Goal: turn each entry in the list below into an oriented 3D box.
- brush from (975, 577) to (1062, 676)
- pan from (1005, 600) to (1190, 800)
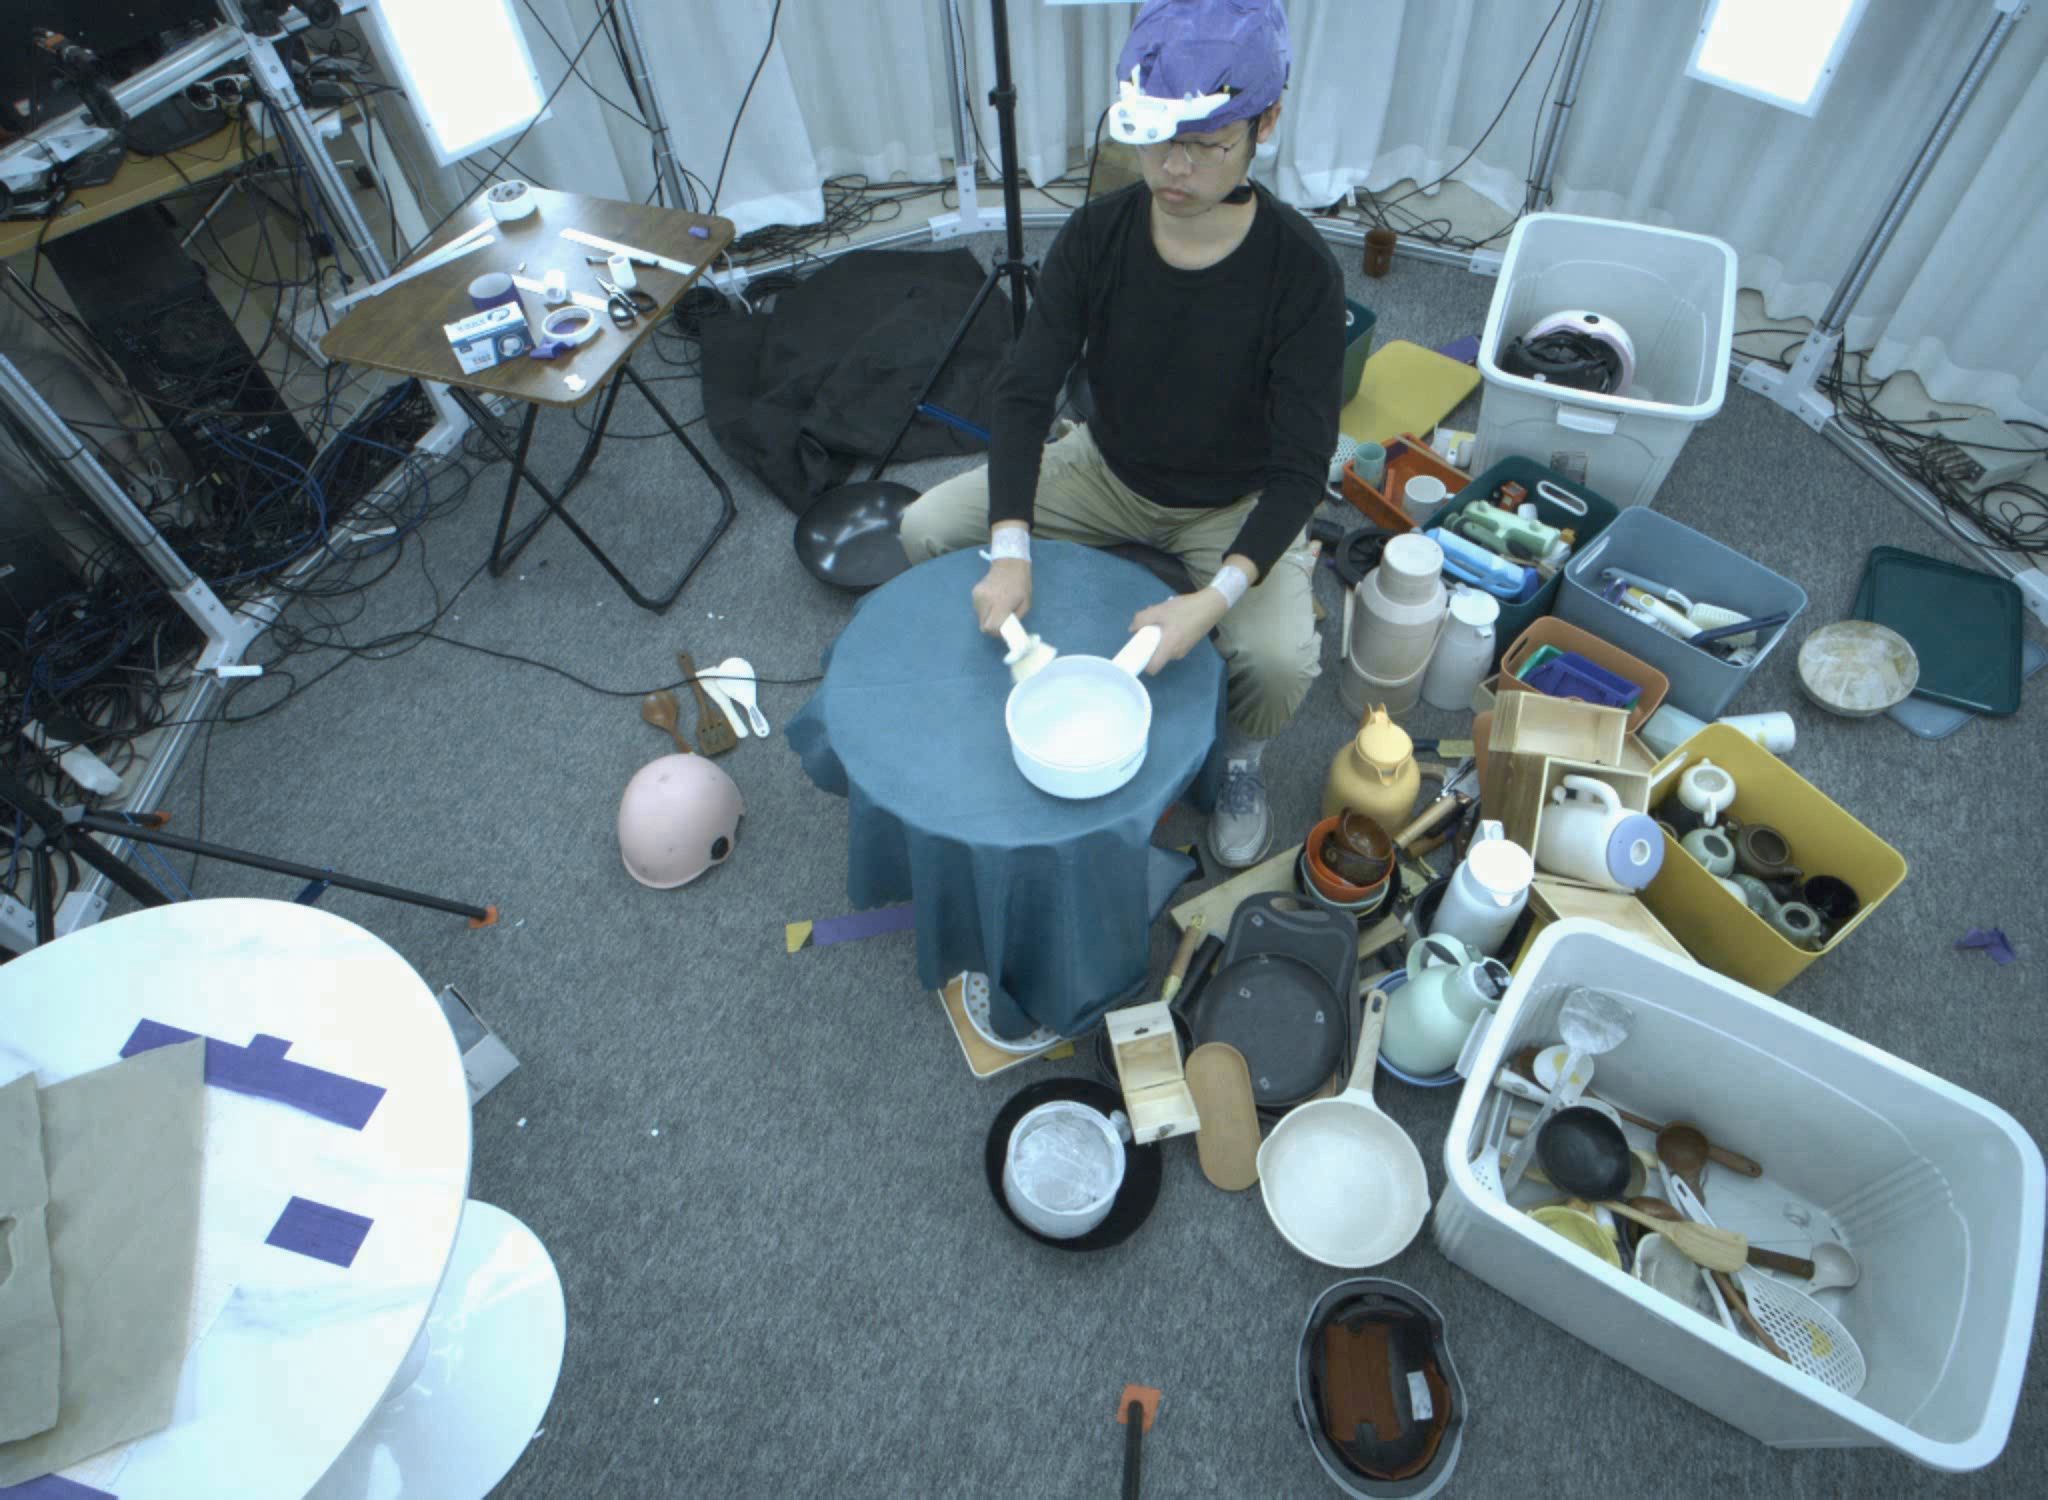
[{"bbox_3d":[-0.015,-0.186,1.815,0.068,0.057,0.261,-33,35,-1],"label":"brush"},{"bbox_3d":[0.124,-0.075,1.781,0.198,0.103,0.356,29,60,24],"label":"pan"}]
